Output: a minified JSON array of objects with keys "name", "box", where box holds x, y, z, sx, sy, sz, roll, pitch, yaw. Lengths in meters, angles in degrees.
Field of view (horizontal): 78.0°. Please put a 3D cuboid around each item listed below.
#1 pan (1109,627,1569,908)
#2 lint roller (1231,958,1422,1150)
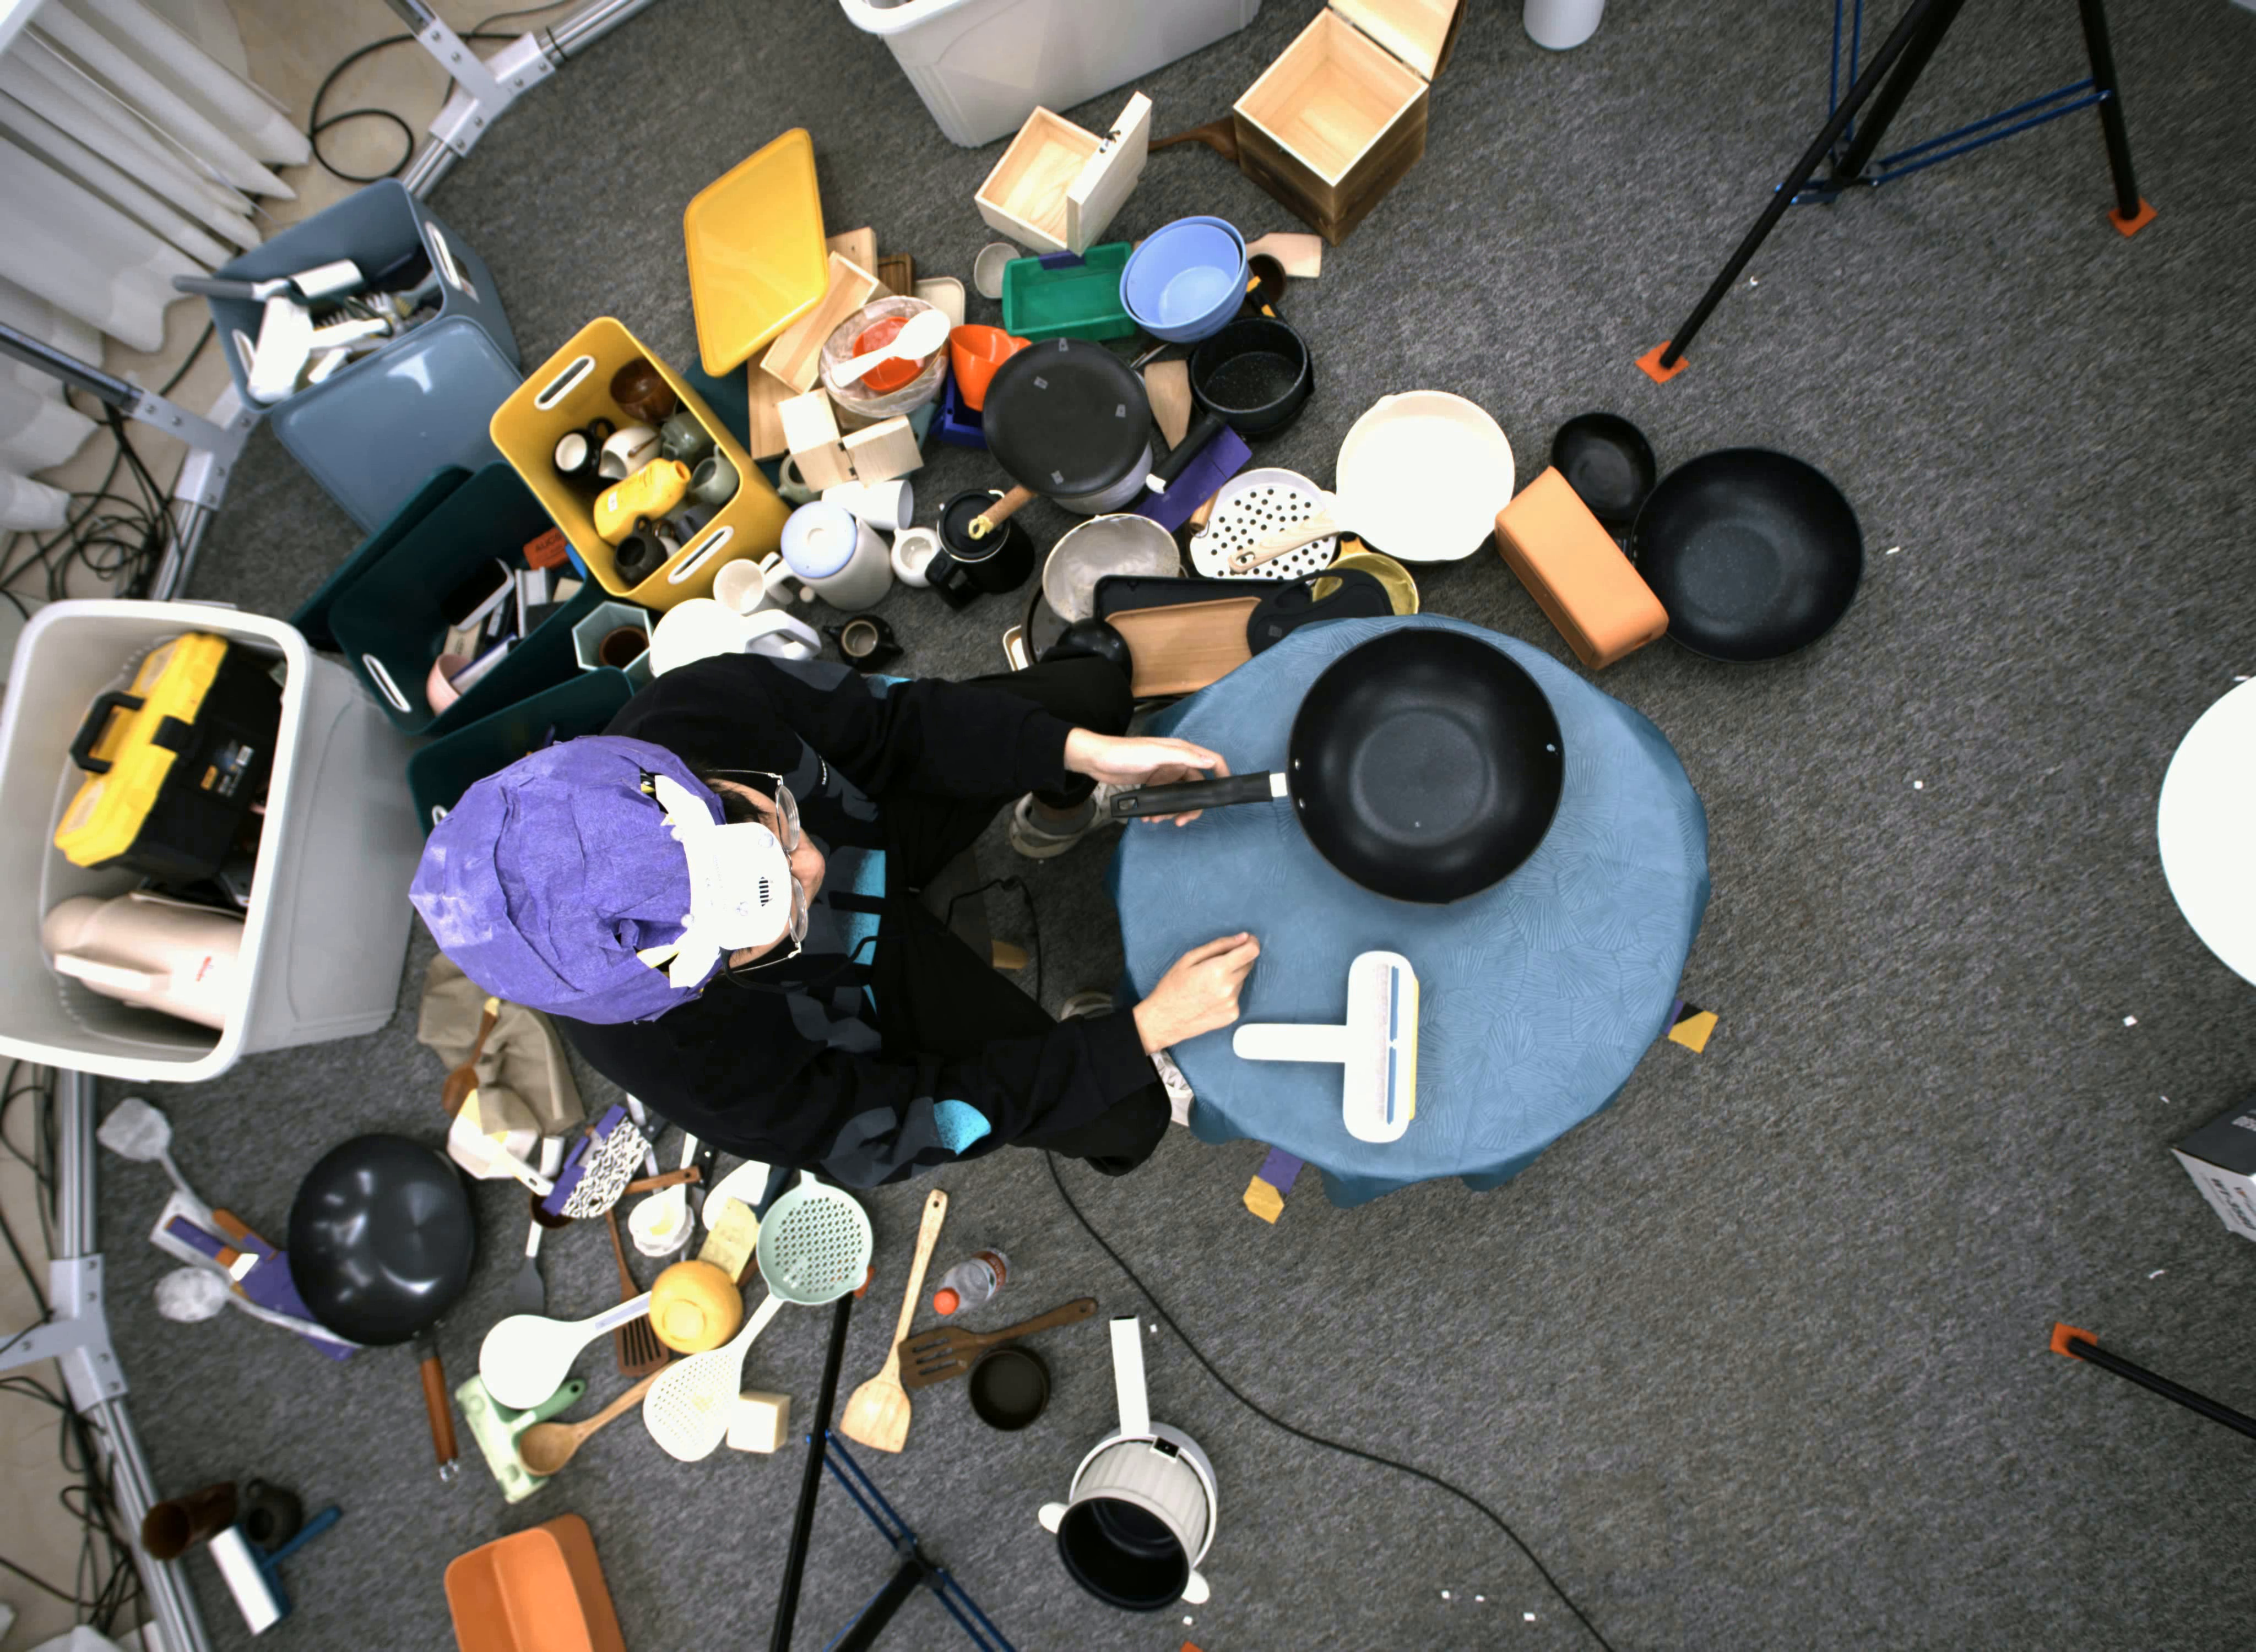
[{"name":"pan","box":[0.215,-0.047,1.429,0.465,0.087,0.286,-7,85,10]},{"name":"lint roller","box":[0.199,0.226,1.426,0.193,0.074,0.191,6,83,12]}]
